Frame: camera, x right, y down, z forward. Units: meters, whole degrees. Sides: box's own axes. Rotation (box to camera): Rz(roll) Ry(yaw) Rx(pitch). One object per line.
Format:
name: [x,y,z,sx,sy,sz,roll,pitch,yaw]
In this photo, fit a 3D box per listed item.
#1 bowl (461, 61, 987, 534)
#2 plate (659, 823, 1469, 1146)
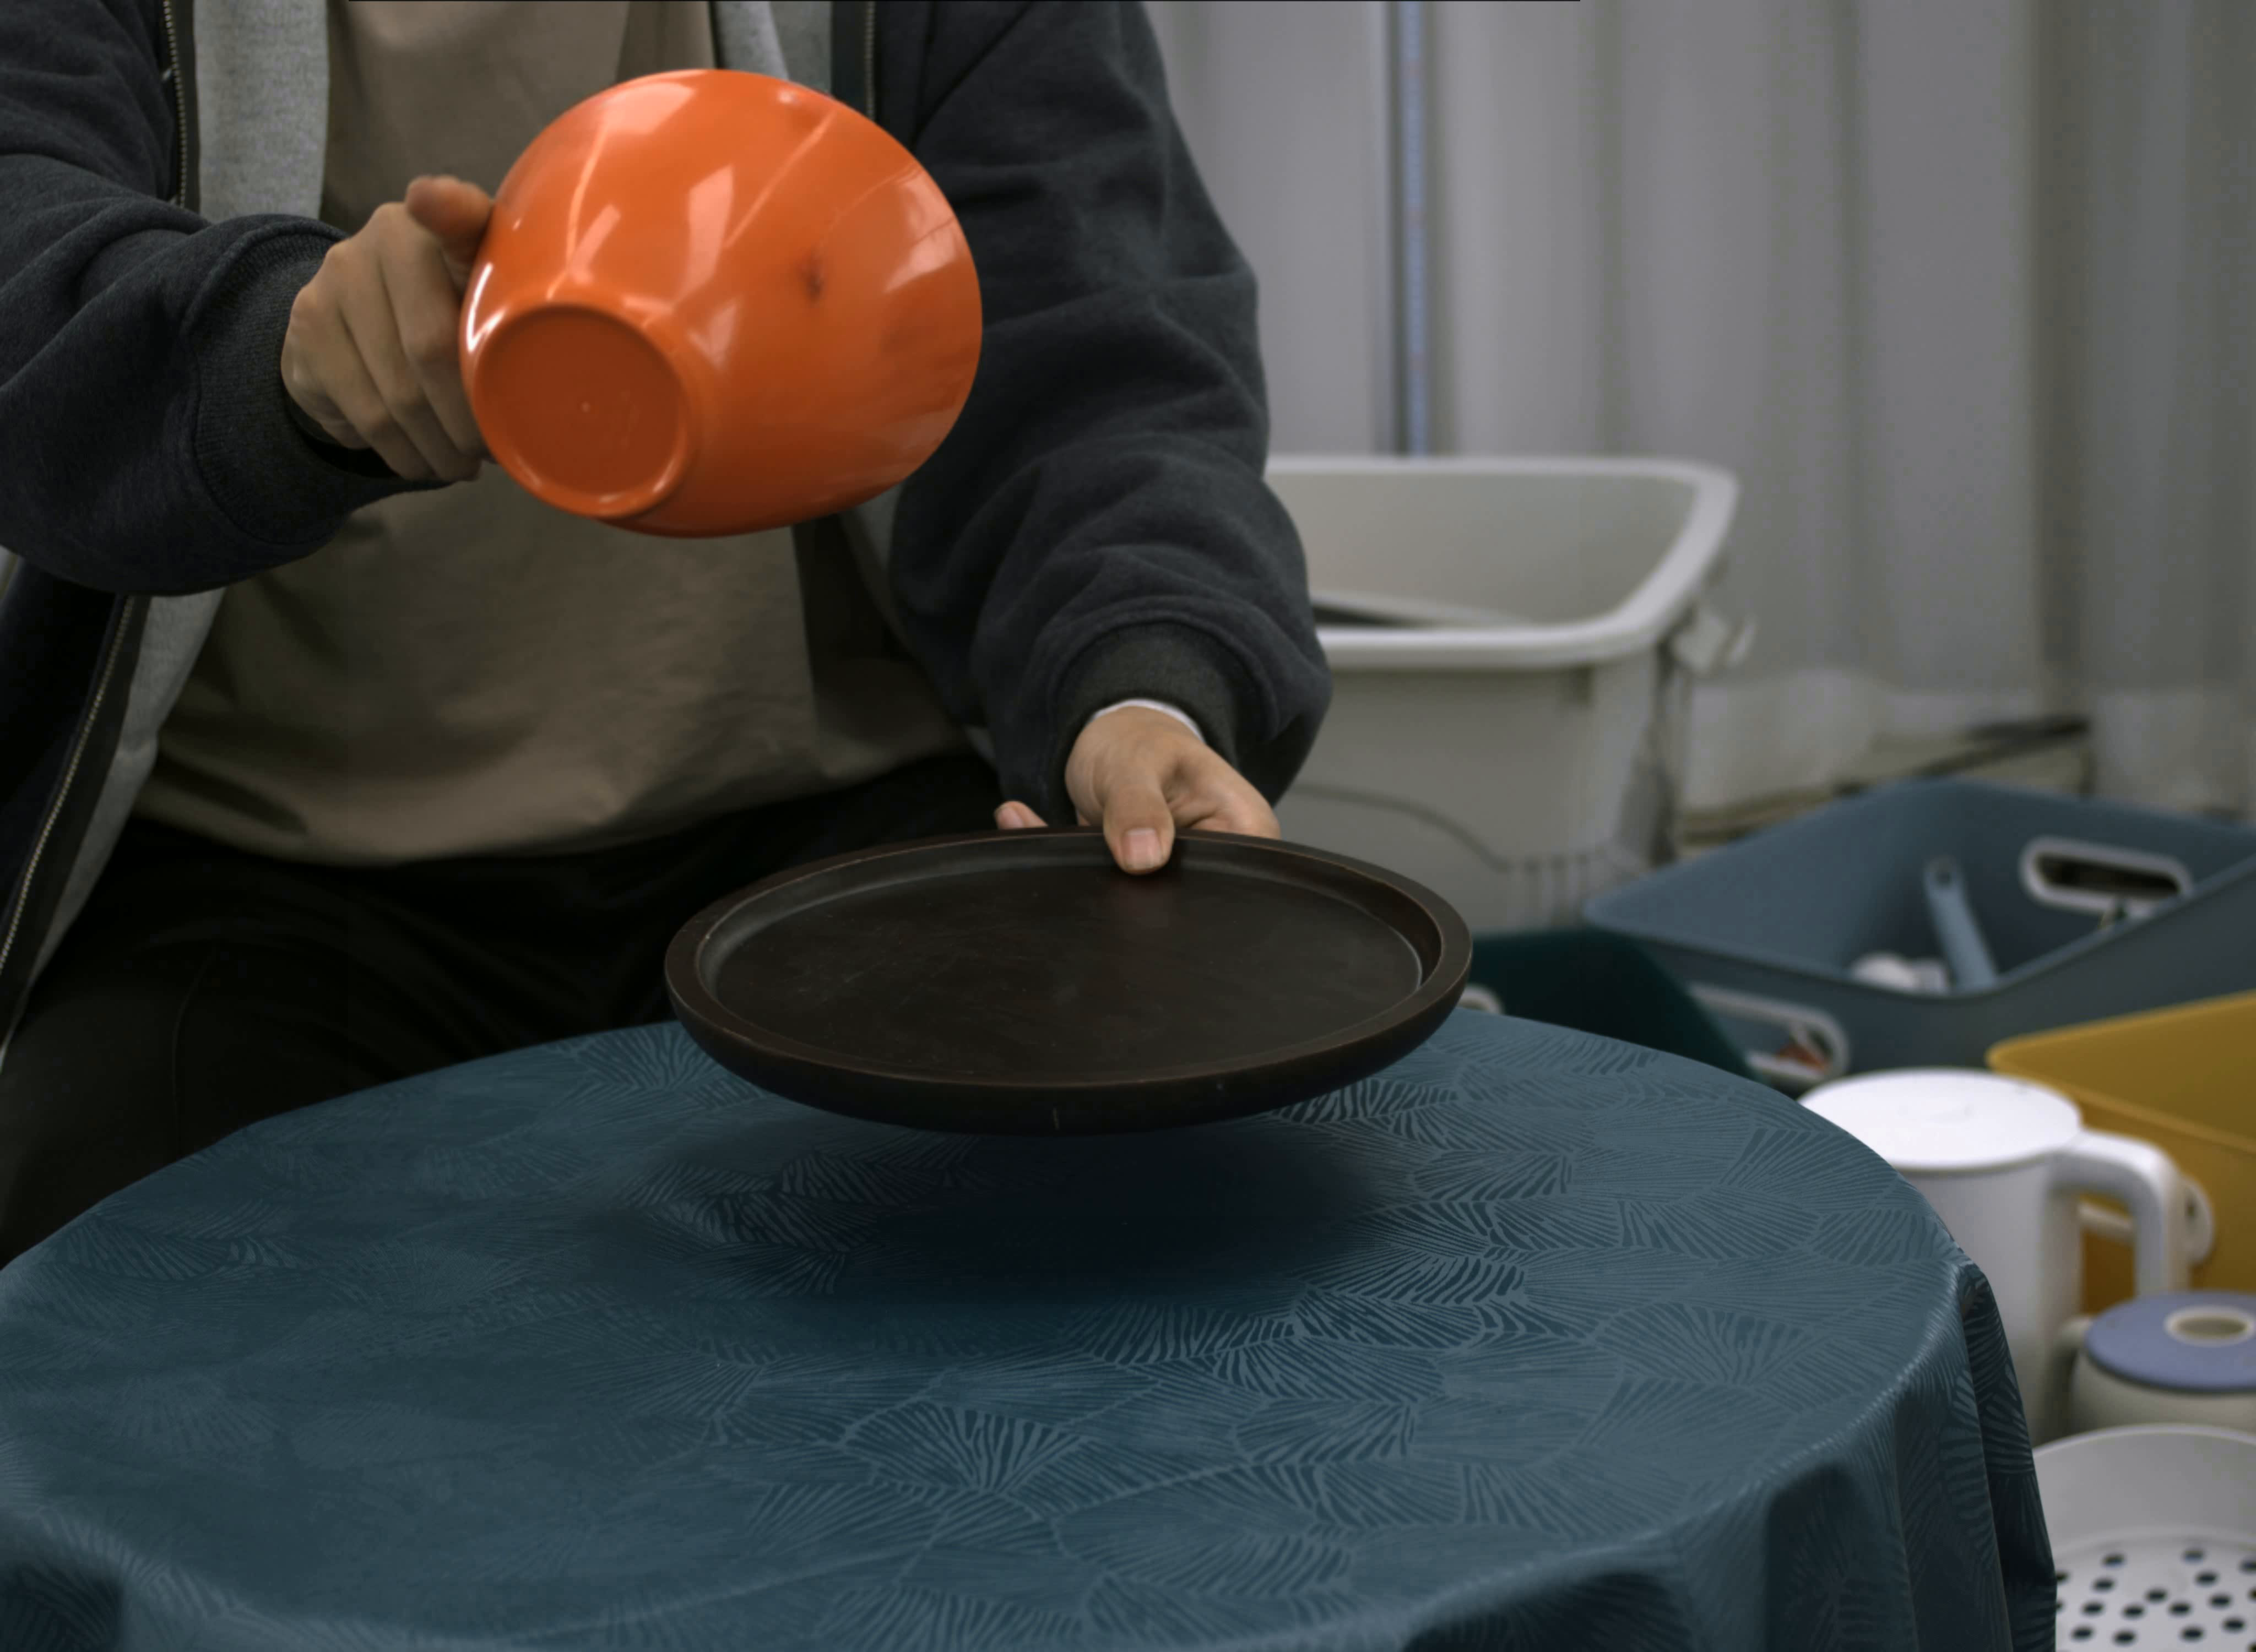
bowl: [-0.126,-0.136,1.567,0.148,0.147,0.105,3,27,19]
plate: [-0.020,0.047,1.709,0.254,0.029,0.257,-2,18,0]
